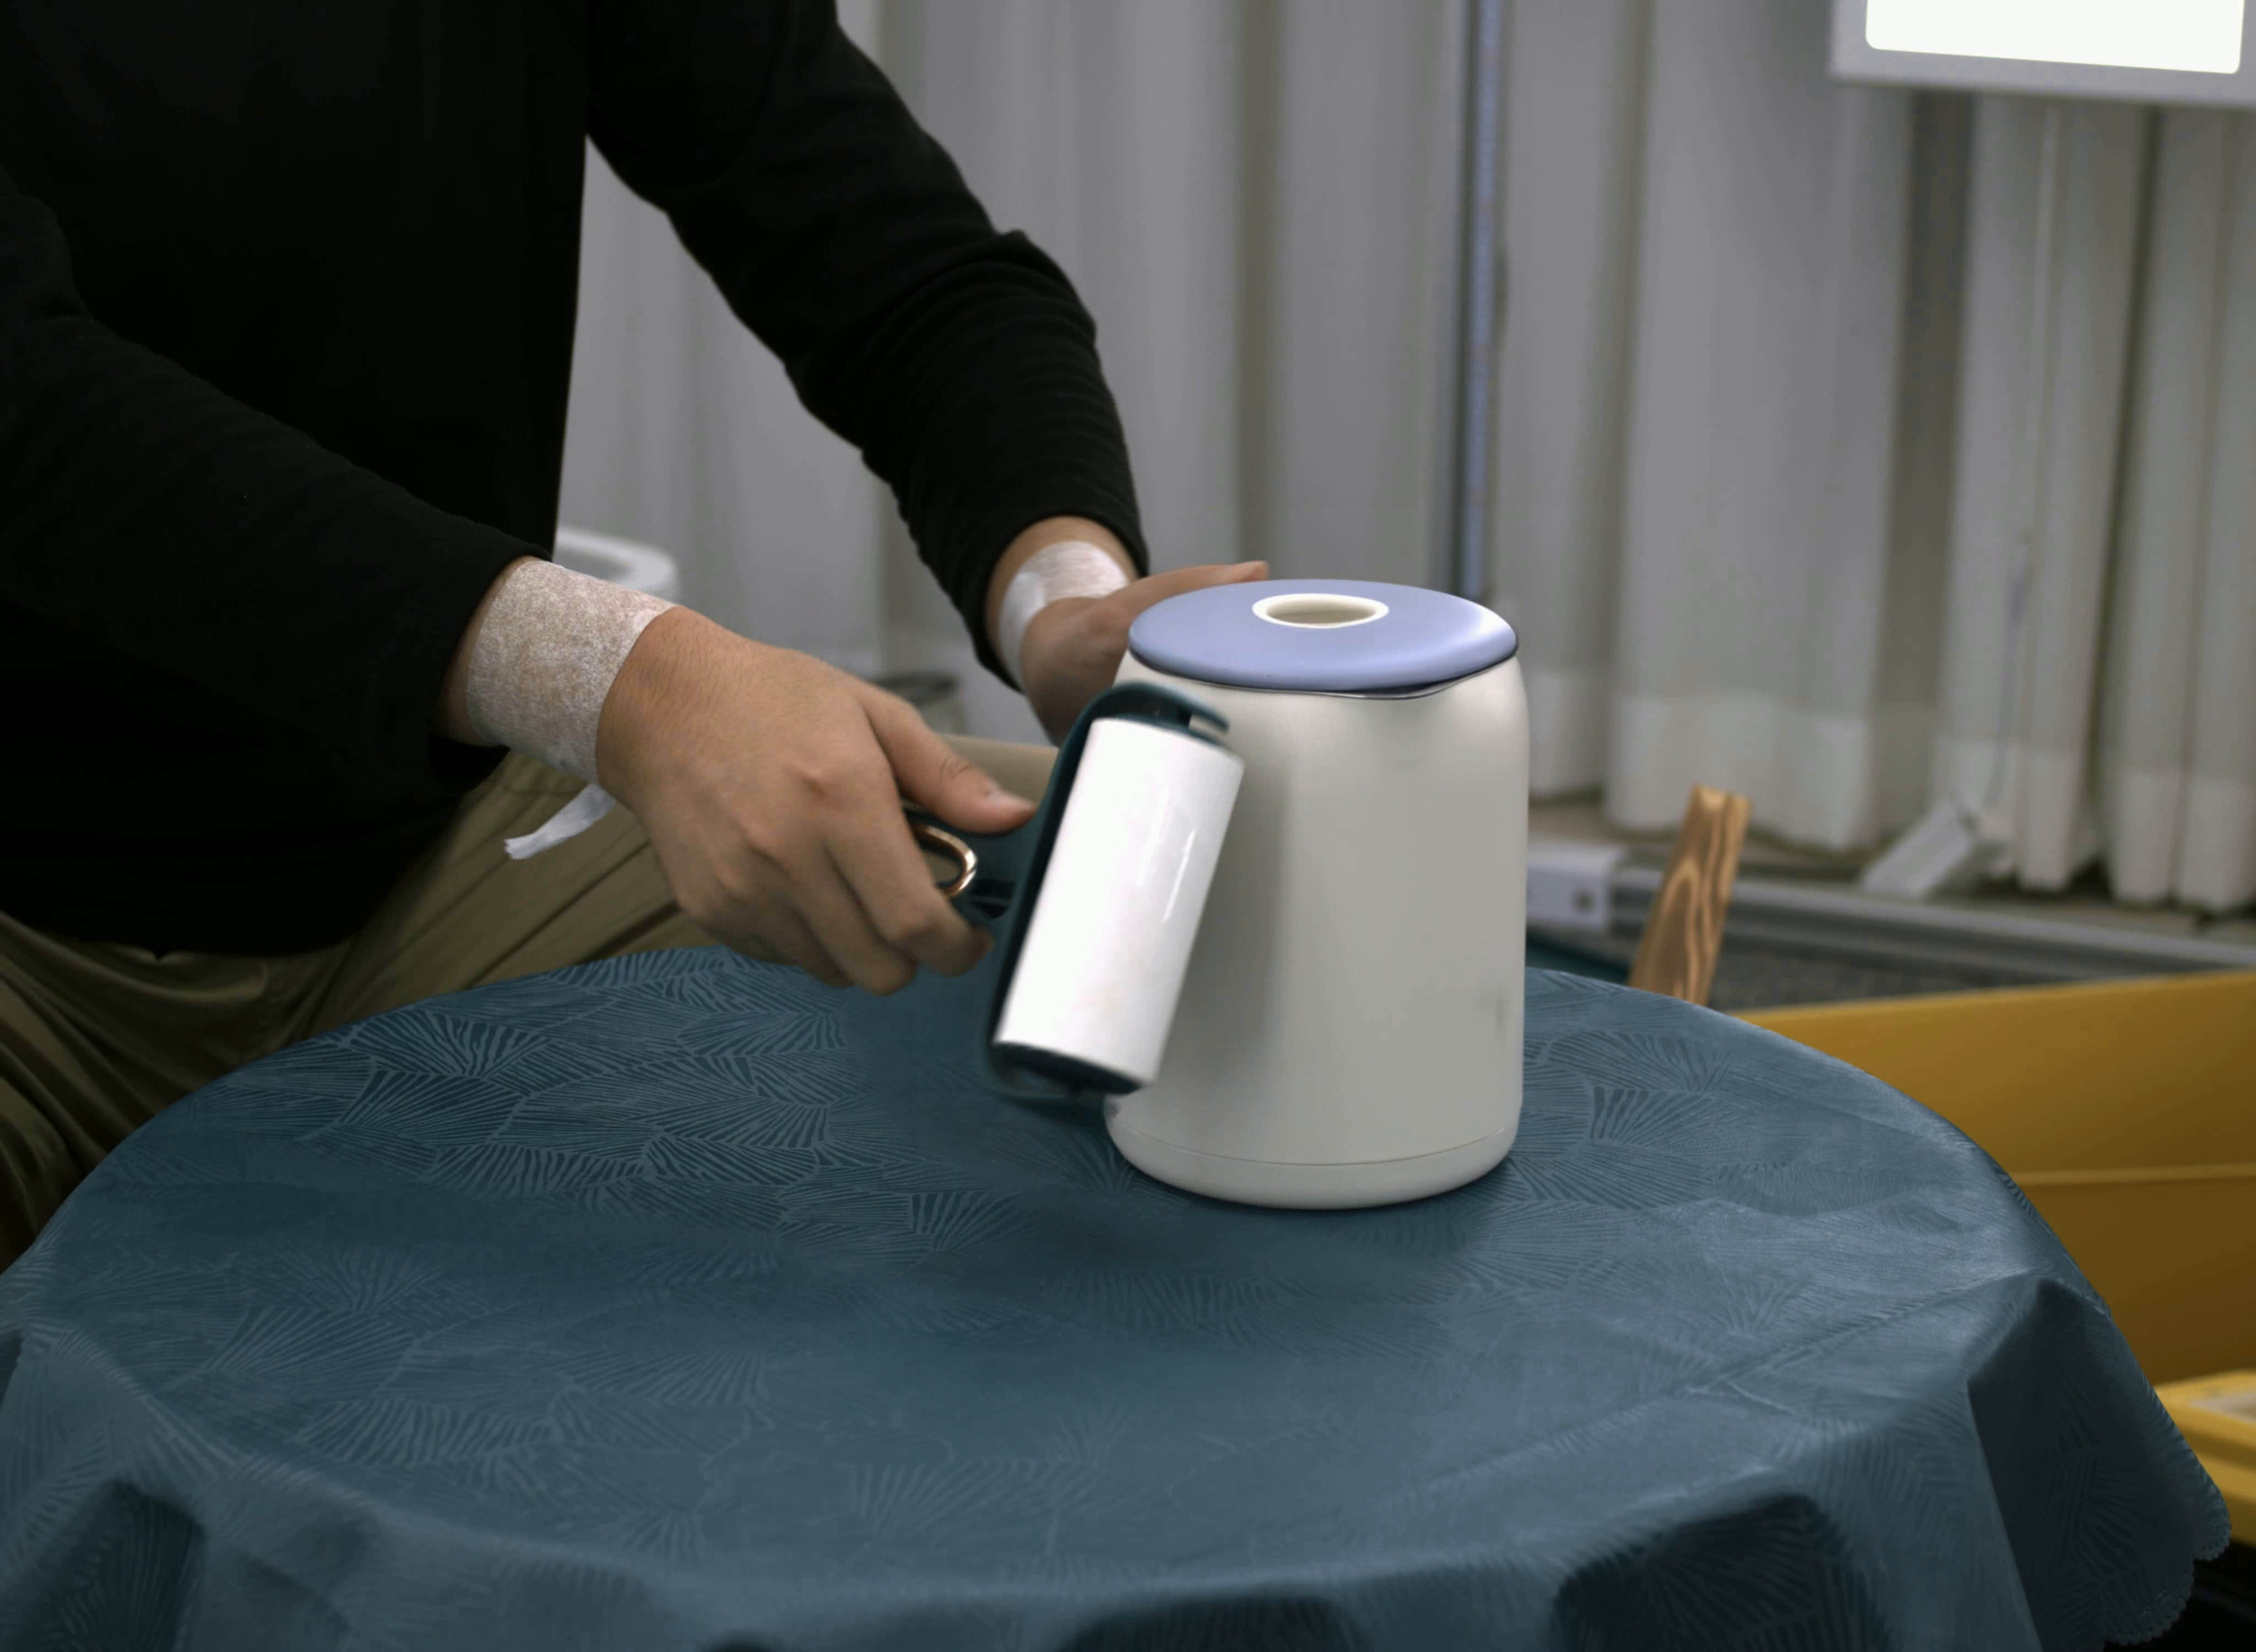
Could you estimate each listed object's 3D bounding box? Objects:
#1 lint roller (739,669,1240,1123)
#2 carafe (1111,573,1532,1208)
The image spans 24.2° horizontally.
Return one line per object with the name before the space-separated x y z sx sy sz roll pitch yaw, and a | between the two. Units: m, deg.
lint roller | -0.056 0.011 1.567 0.178 0.134 0.049 10 -9 33
carafe | 0.050 0.013 1.657 0.132 0.184 0.189 -6 15 -21
